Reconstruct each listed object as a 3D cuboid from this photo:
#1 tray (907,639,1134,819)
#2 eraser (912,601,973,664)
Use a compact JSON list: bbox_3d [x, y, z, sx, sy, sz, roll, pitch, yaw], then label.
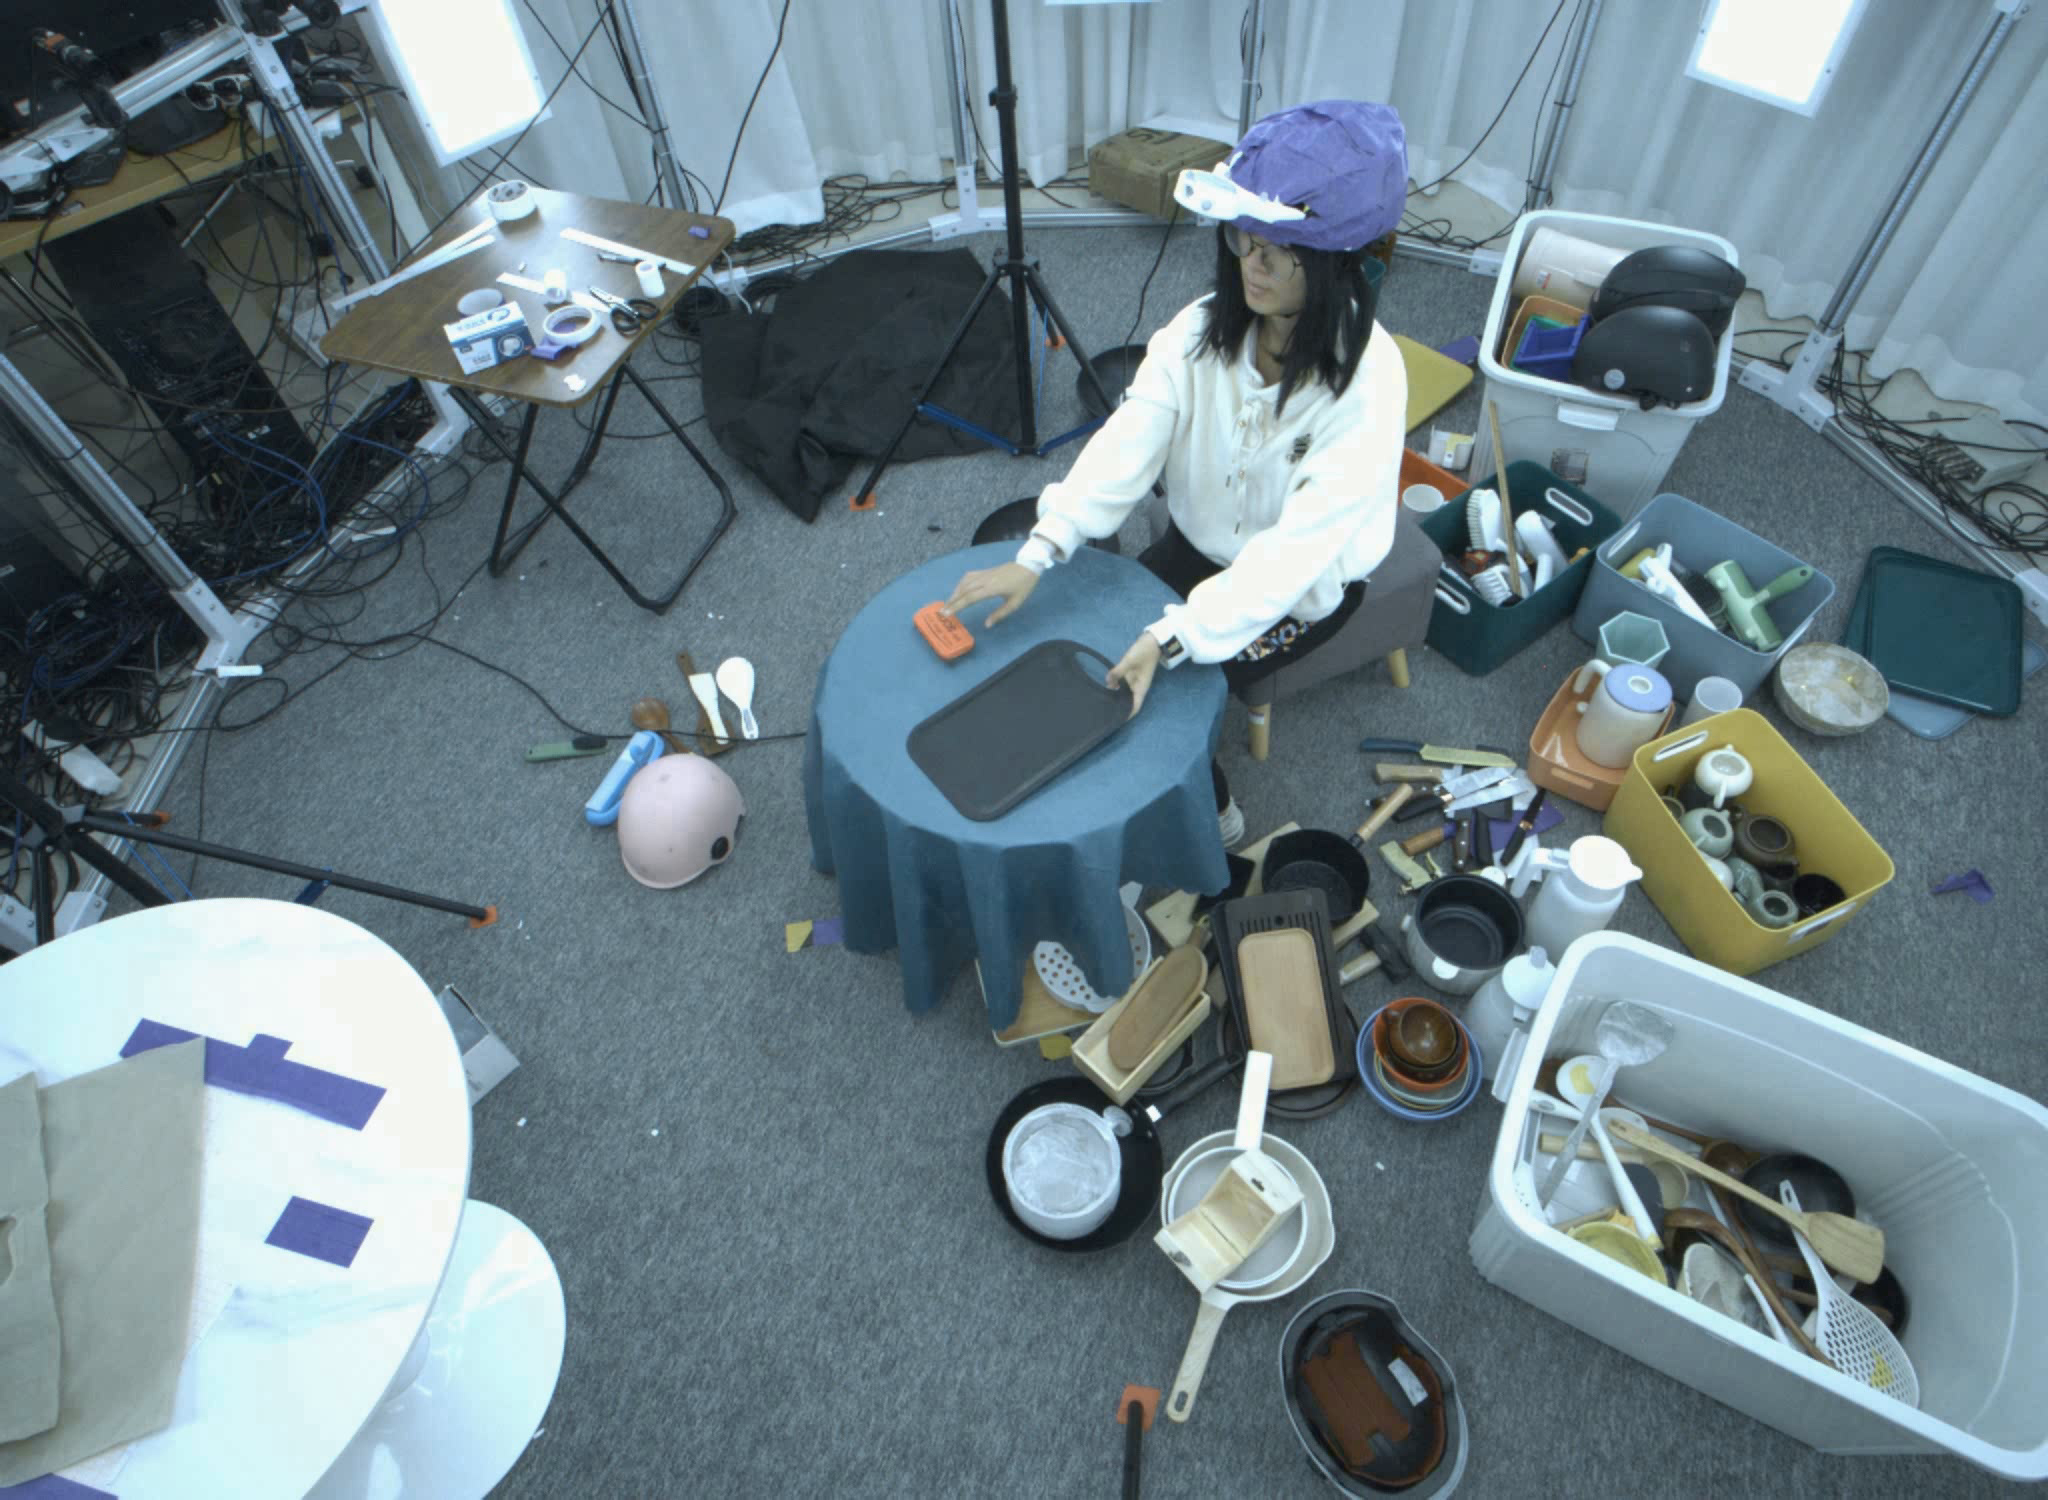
[{"bbox_3d":[0.000,-0.043,1.799,0.327,0.010,0.207,-35,59,-16],"label":"tray"},{"bbox_3d":[-0.127,-0.184,1.908,0.059,0.023,0.106,-27,59,-19],"label":"eraser"}]
